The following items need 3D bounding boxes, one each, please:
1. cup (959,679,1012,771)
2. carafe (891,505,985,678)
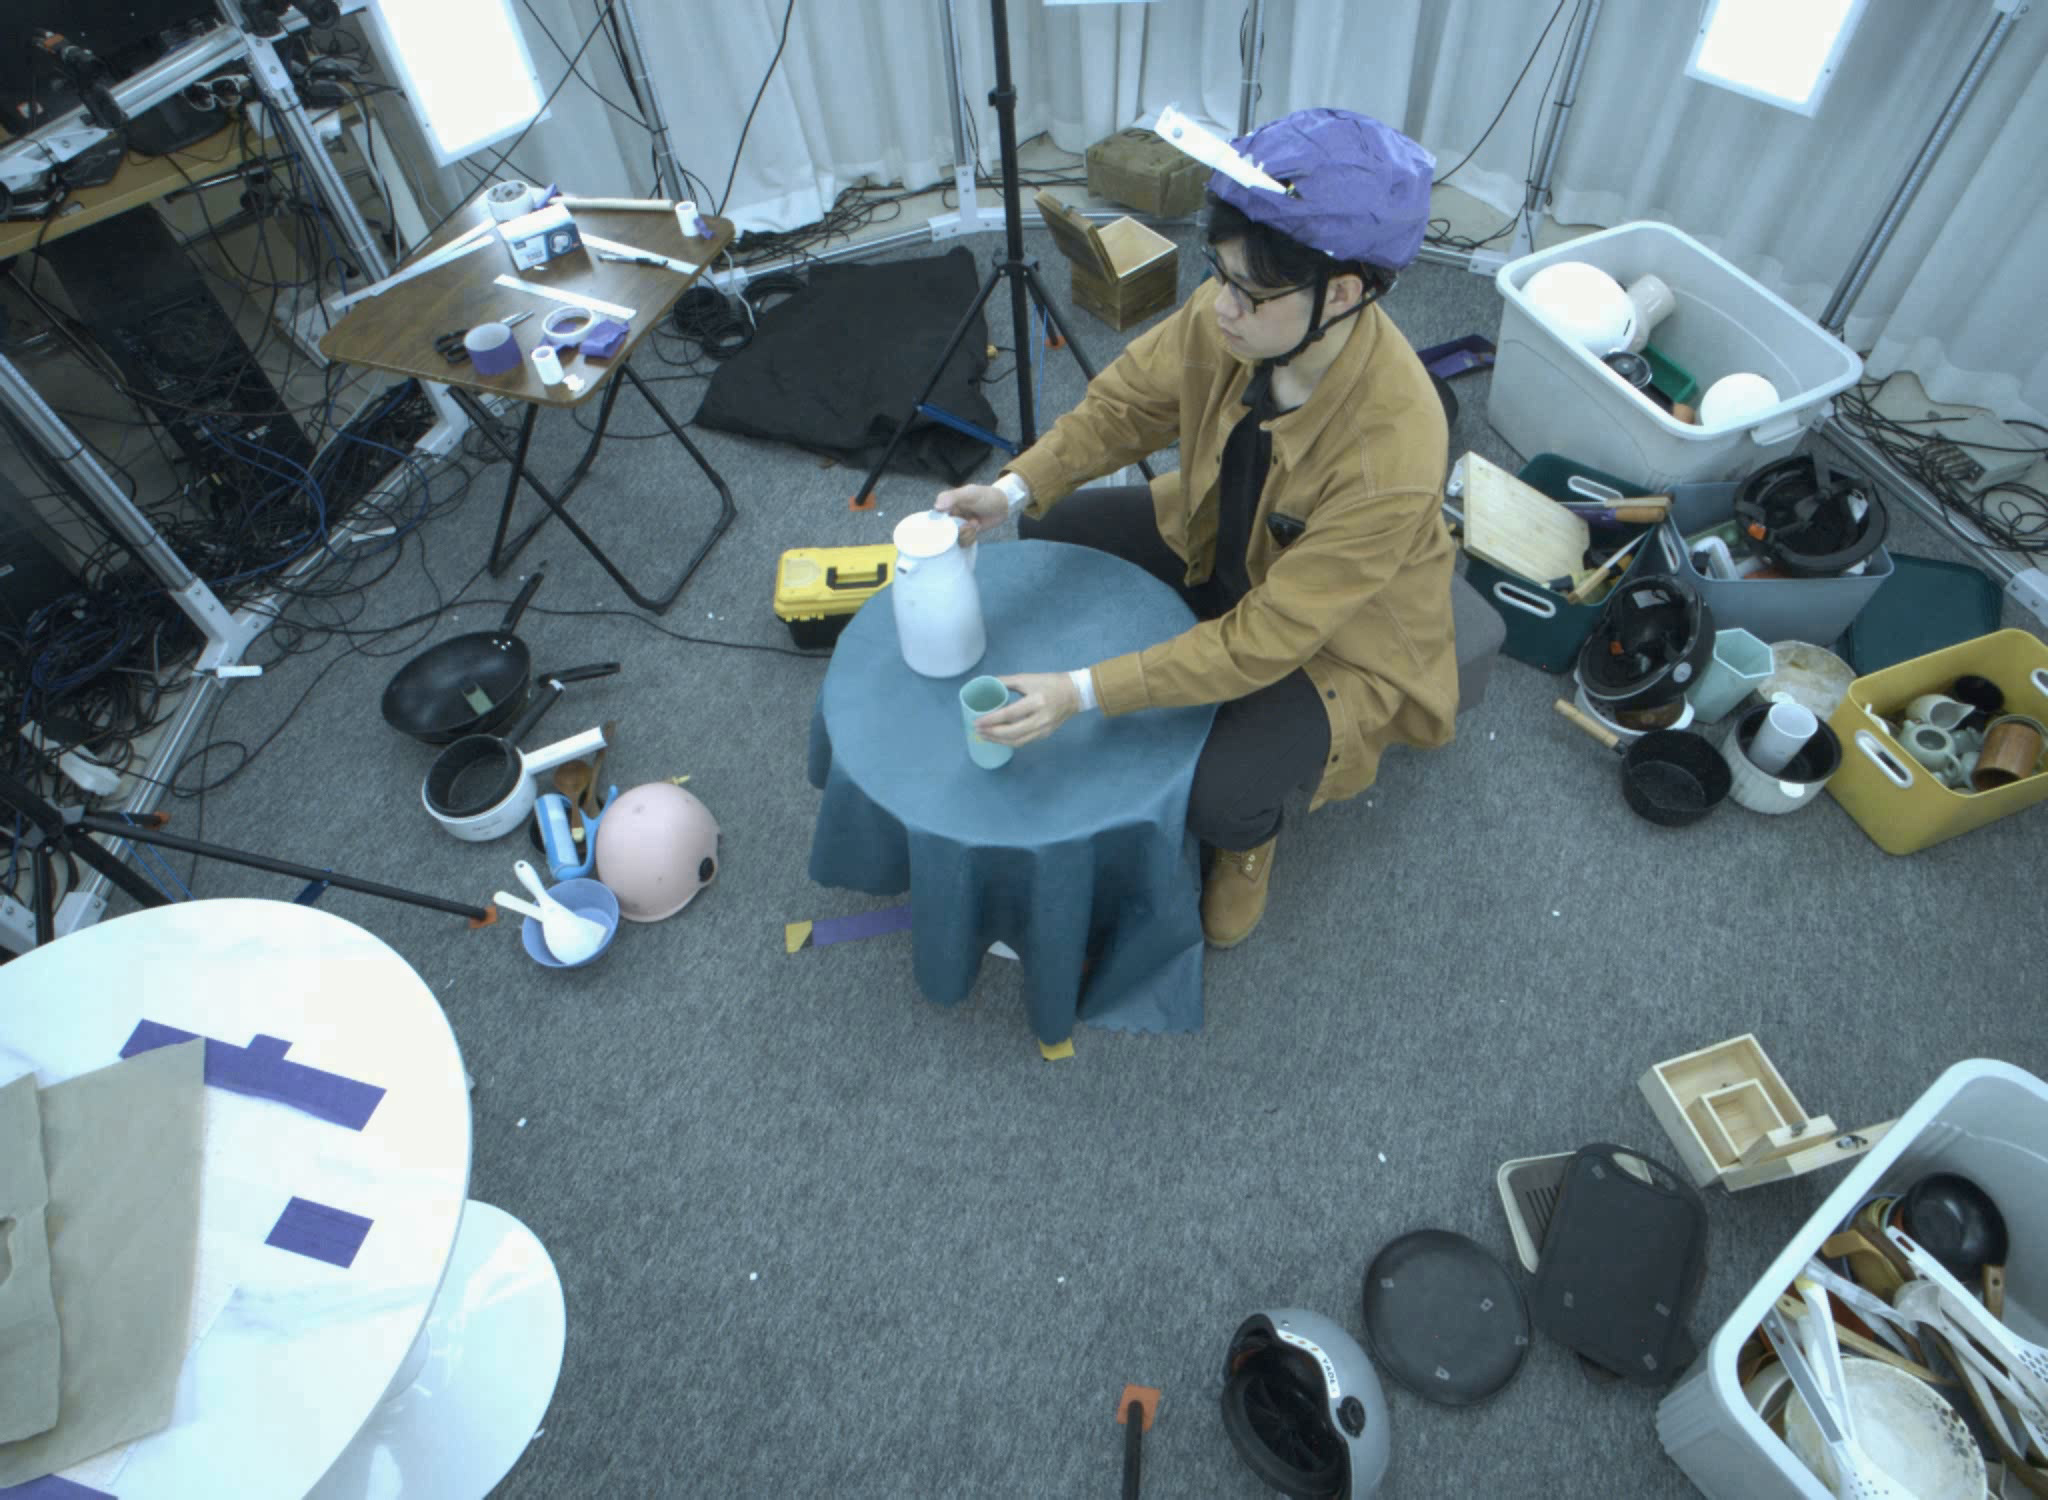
[{"bbox_3d":[-0.051,-0.035,1.733,0.066,0.134,0.066,-1,54,3],"label":"cup"},{"bbox_3d":[-0.125,-0.248,1.811,0.130,0.251,0.168,23,58,19],"label":"carafe"}]
